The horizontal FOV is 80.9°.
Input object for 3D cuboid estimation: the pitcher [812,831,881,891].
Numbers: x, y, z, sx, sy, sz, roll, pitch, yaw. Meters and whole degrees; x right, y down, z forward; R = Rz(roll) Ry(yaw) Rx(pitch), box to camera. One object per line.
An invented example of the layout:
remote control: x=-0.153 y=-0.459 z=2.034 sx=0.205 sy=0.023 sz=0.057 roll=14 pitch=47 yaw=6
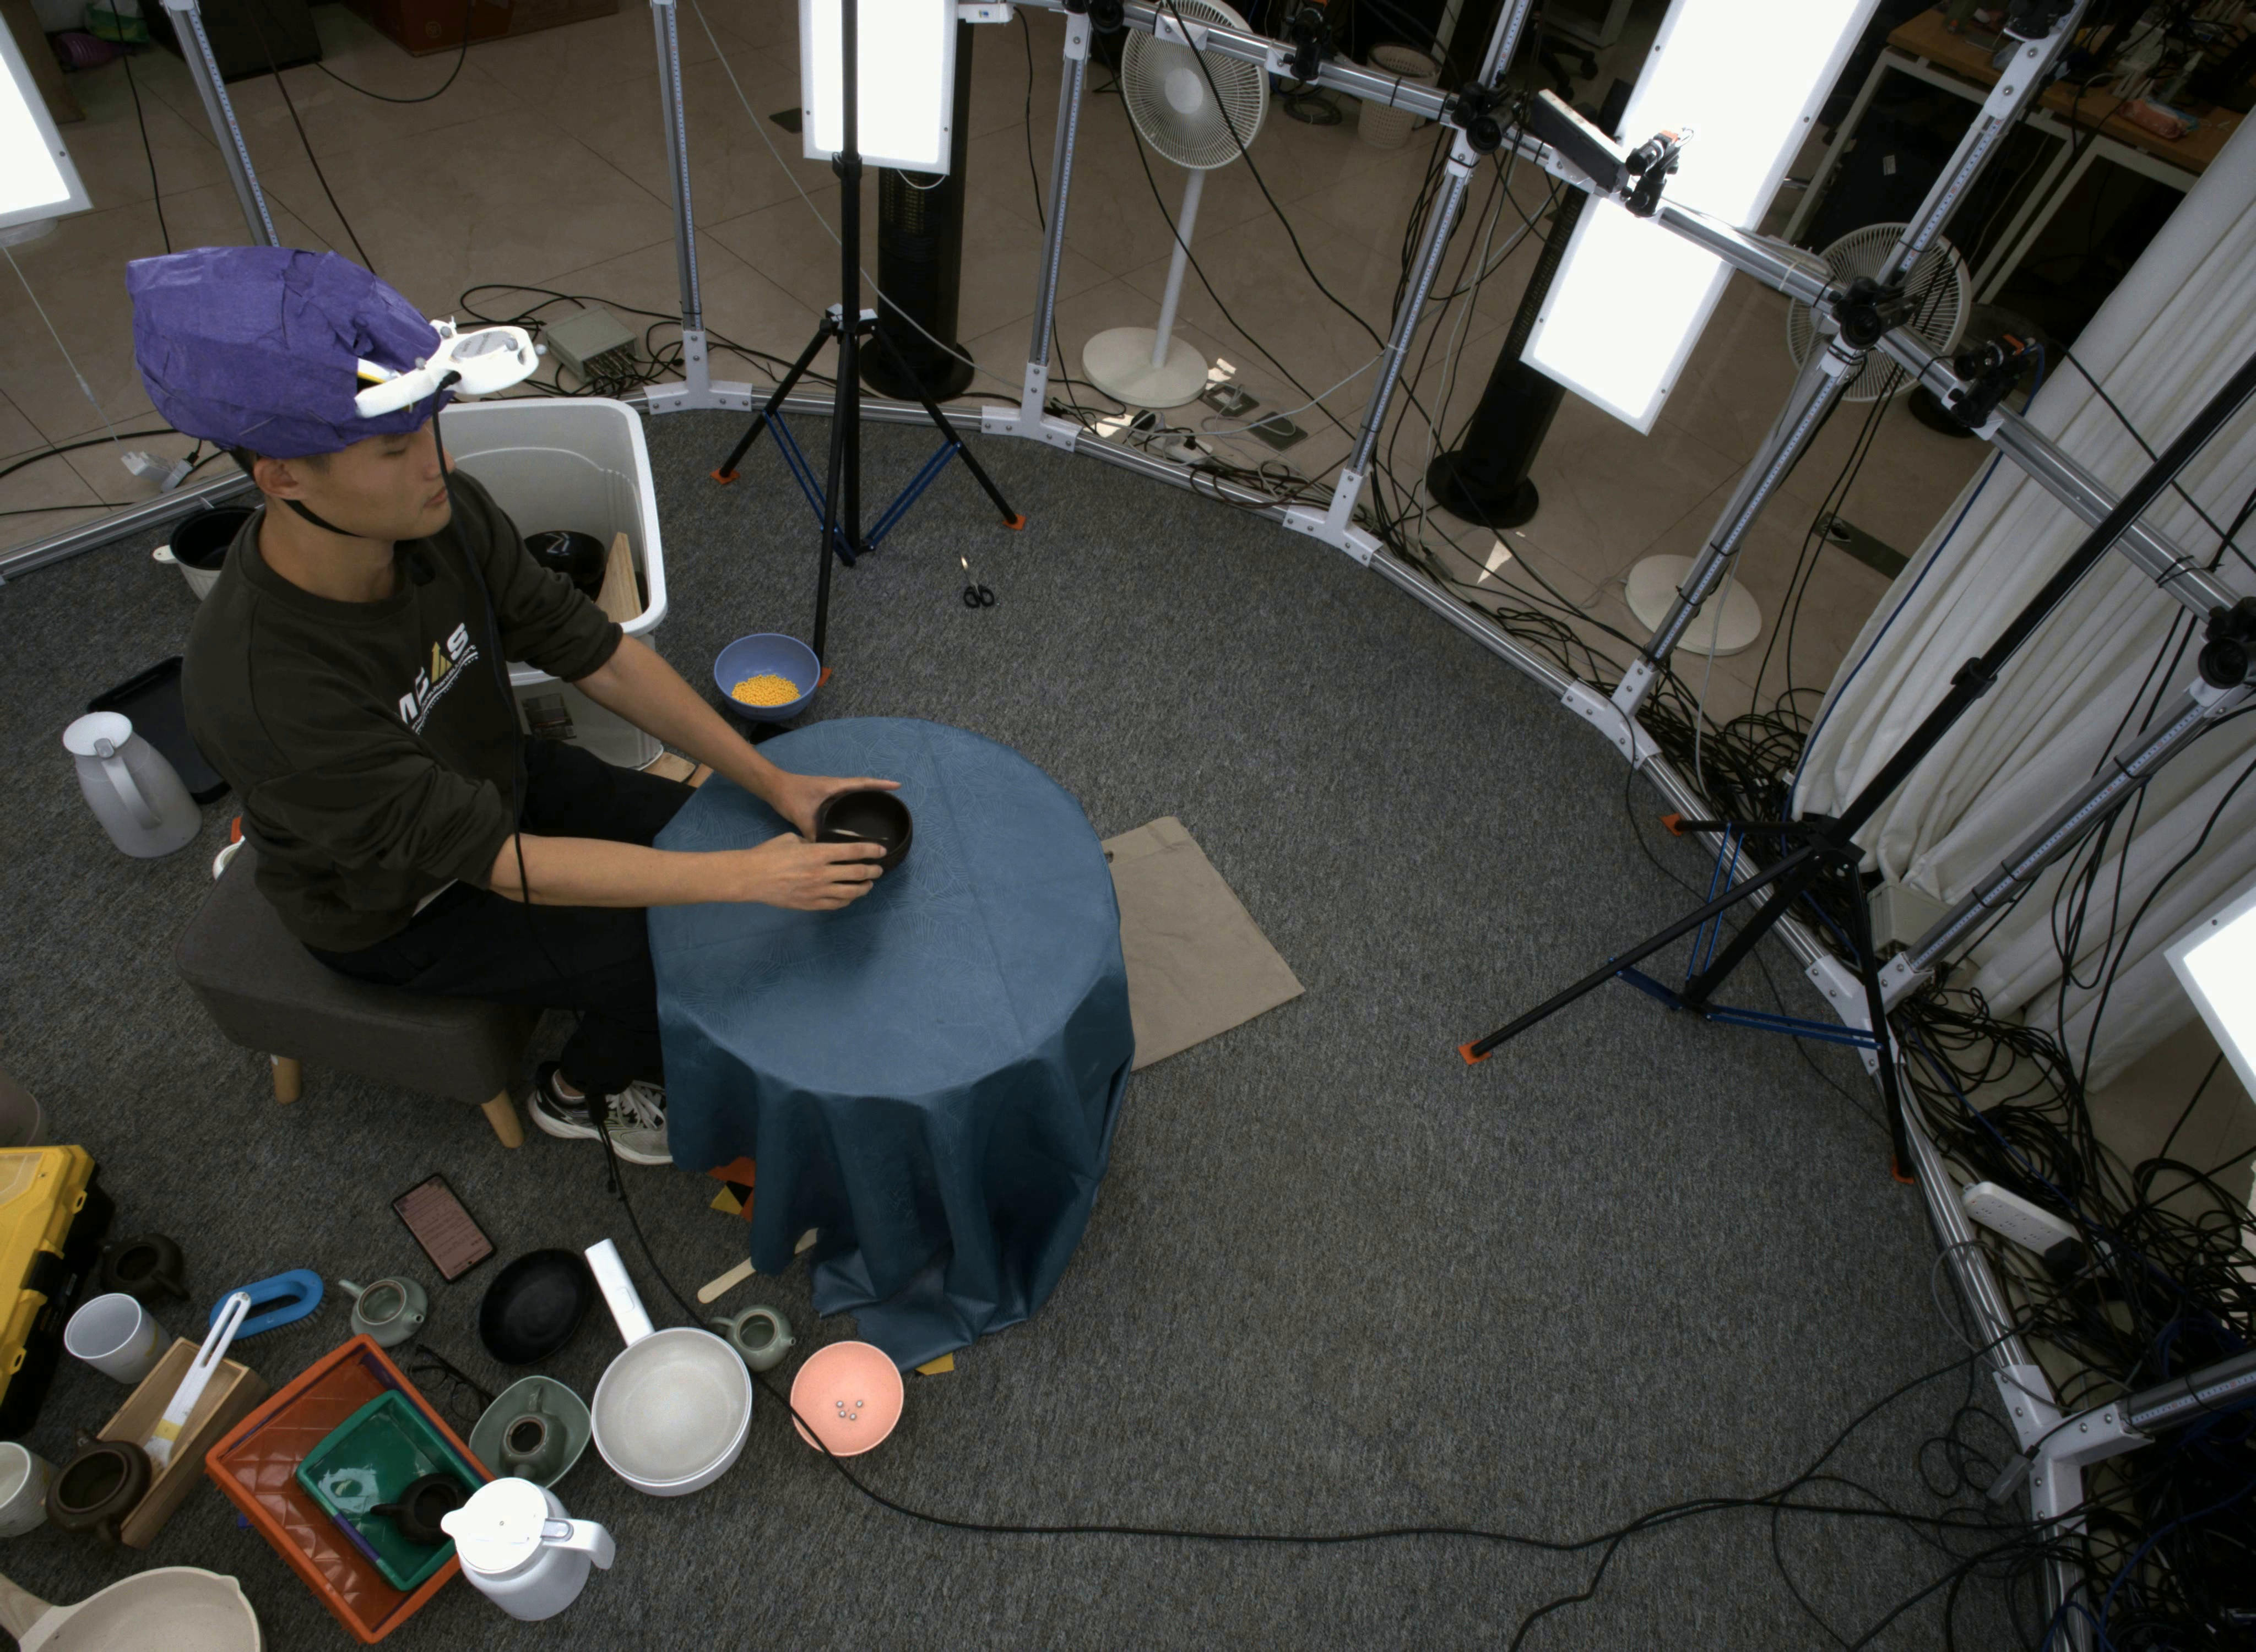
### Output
pitcher: x=-0.348 y=0.040 z=1.600 sx=0.082 sy=0.097 sz=0.072 roll=7 pitch=91 yaw=11

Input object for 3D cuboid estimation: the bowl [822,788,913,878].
bowl: x=-0.341 y=0.016 z=1.698 sx=0.118 sy=0.071 sz=0.116 roll=8 pitch=54 yaw=-10
